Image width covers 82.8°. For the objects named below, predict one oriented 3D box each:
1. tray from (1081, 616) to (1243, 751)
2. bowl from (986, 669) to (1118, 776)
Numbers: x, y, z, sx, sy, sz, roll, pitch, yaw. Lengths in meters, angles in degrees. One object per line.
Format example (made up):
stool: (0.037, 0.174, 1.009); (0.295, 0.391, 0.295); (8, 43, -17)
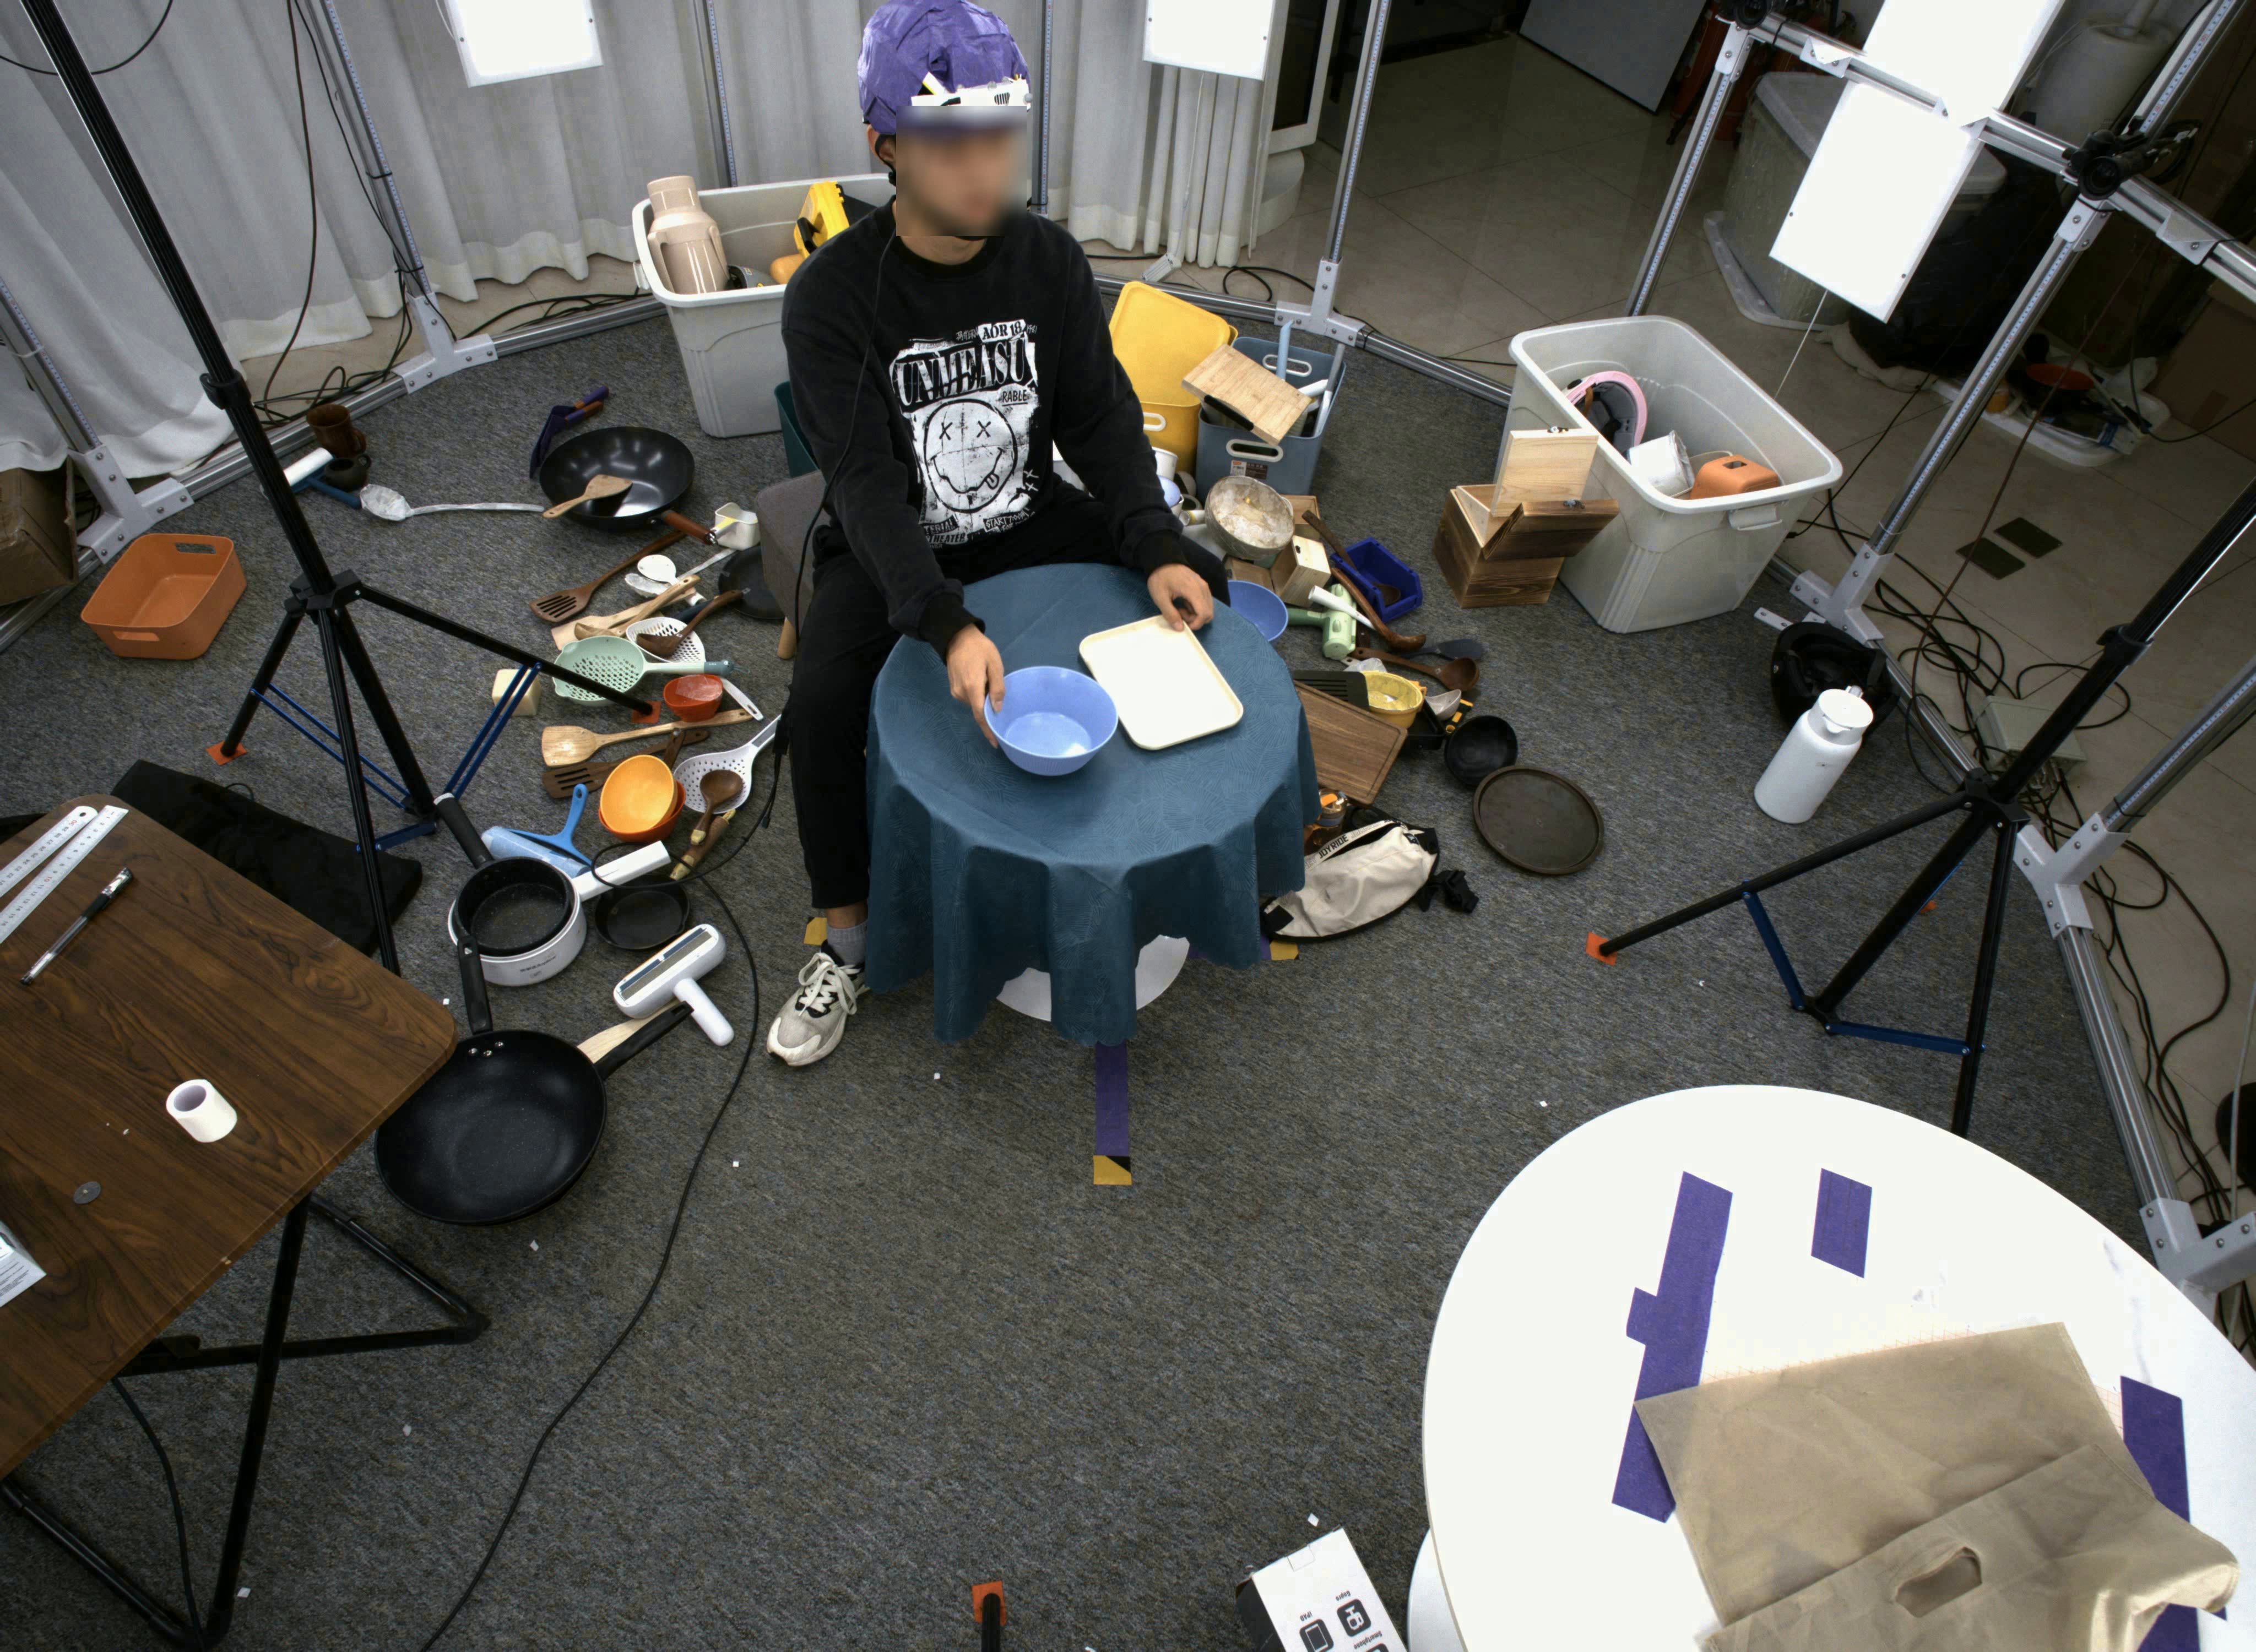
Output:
tray: (0.046, -0.207, 1.852); (0.171, 0.017, 0.245); (-18, 52, -15)
bowl: (-0.104, -0.130, 1.719); (0.176, 0.068, 0.180); (5, 46, -6)
